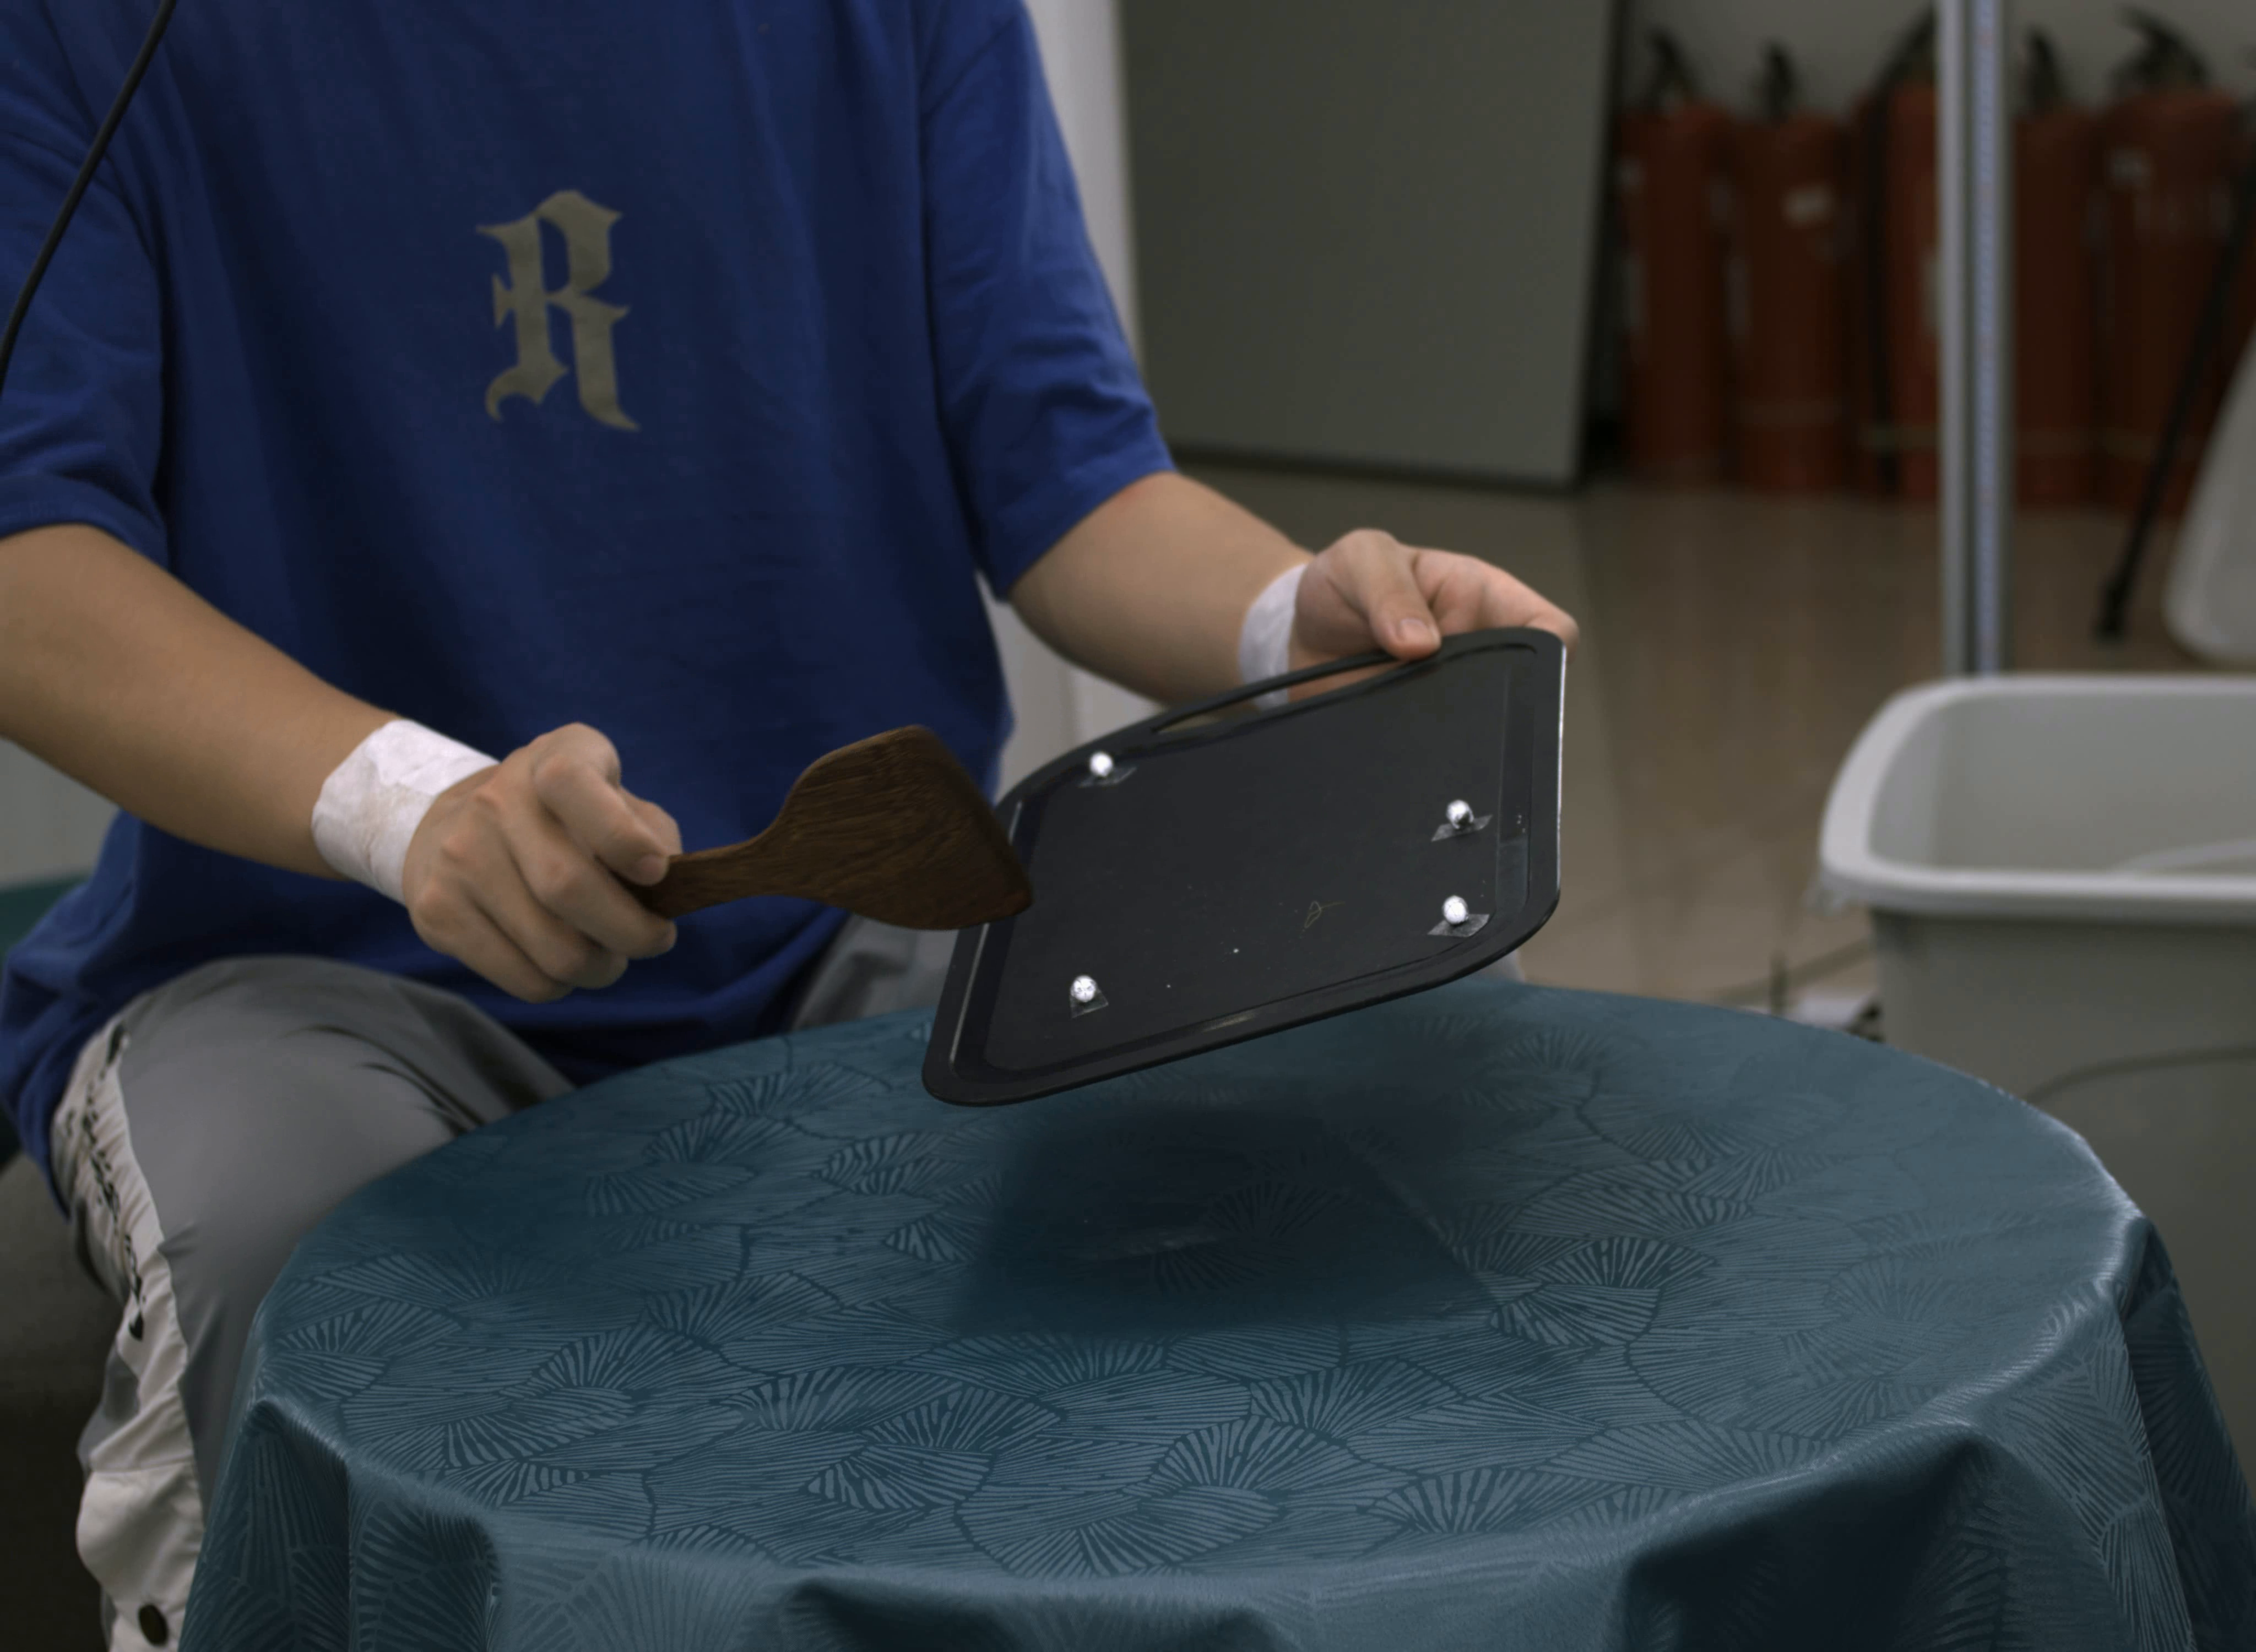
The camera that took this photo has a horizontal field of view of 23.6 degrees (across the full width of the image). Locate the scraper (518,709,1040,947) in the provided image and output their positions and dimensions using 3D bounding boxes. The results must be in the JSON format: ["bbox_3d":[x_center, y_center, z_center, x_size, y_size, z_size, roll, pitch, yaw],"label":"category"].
[{"bbox_3d":[-0.118,0.012,1.709,0.213,0.075,0.011,-13,29,42],"label":"scraper"}]

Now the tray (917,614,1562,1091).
[{"bbox_3d":[0.041,0.001,1.770,0.210,0.010,0.325,-17,19,12],"label":"tray"}]
